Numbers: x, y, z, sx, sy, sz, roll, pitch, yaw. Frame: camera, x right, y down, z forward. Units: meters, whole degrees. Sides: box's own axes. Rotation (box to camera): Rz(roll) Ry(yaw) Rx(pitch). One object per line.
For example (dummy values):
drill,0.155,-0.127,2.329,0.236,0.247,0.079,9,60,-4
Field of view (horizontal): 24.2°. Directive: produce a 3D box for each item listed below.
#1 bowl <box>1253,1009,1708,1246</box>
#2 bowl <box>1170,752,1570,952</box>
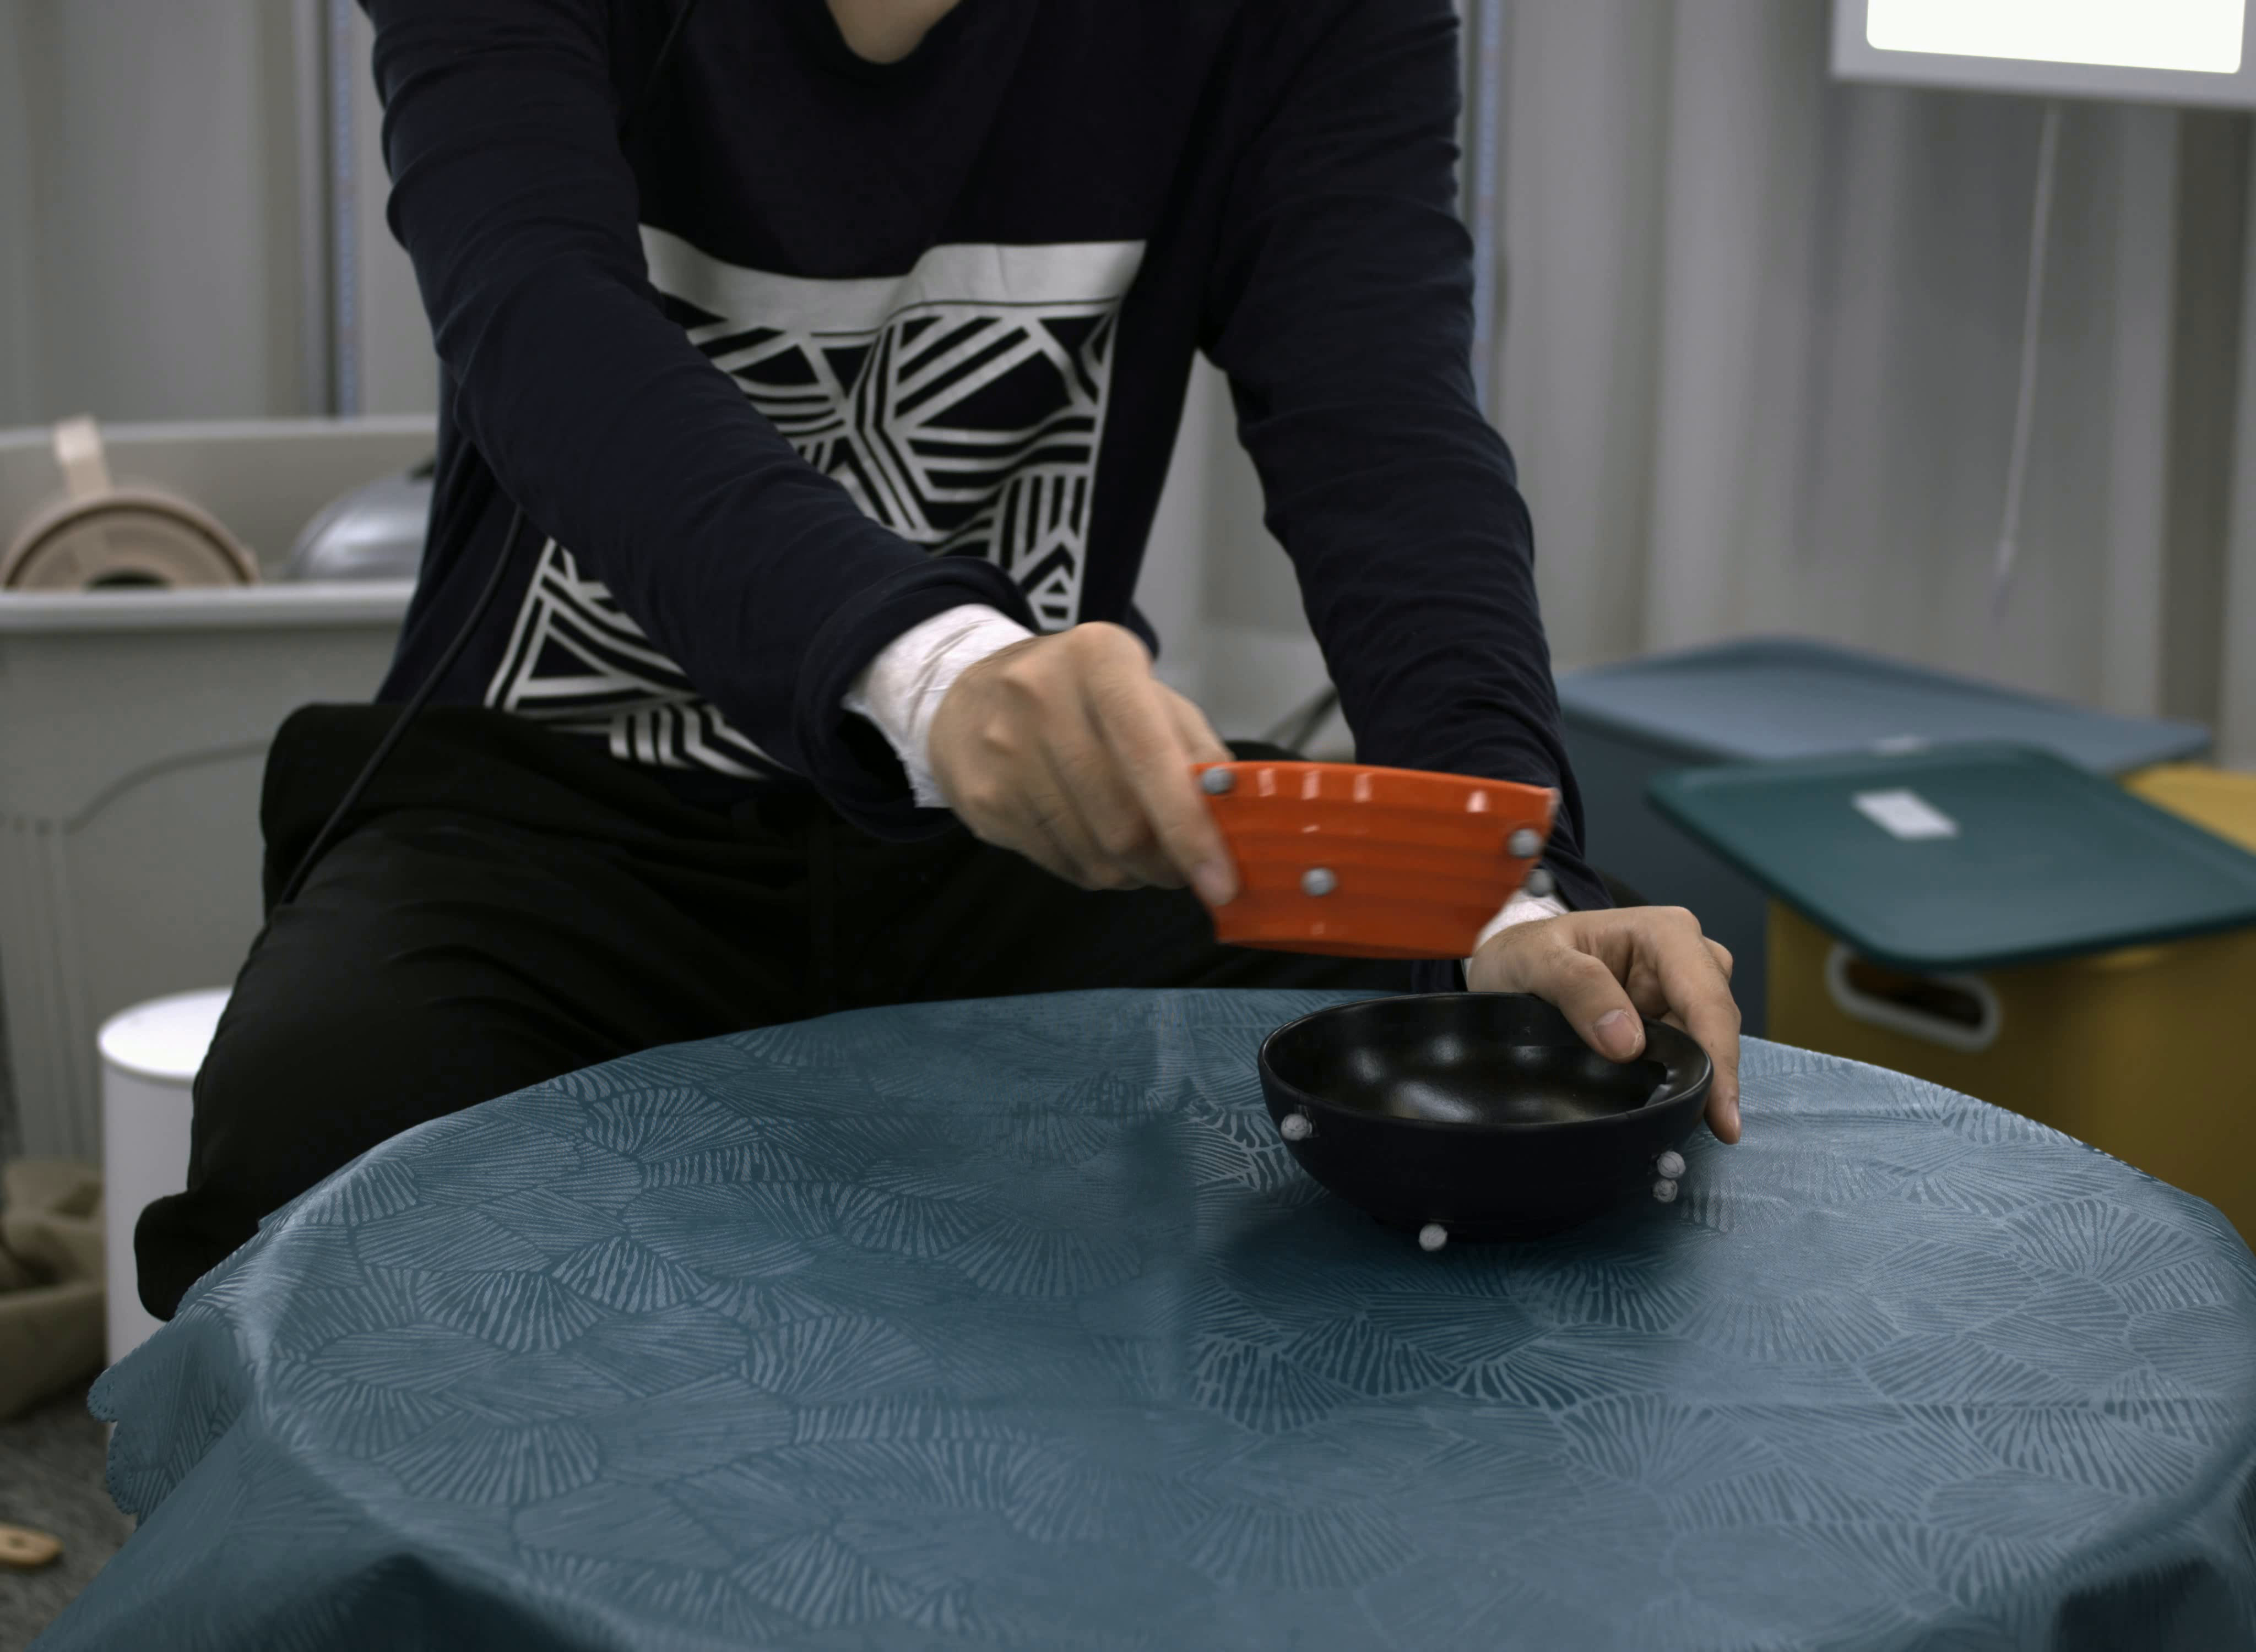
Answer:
bowl,0.107,0.095,1.607,0.139,0.050,0.139,0,11,1
bowl,0.069,0.009,1.547,0.118,0.051,0.119,4,-3,1
